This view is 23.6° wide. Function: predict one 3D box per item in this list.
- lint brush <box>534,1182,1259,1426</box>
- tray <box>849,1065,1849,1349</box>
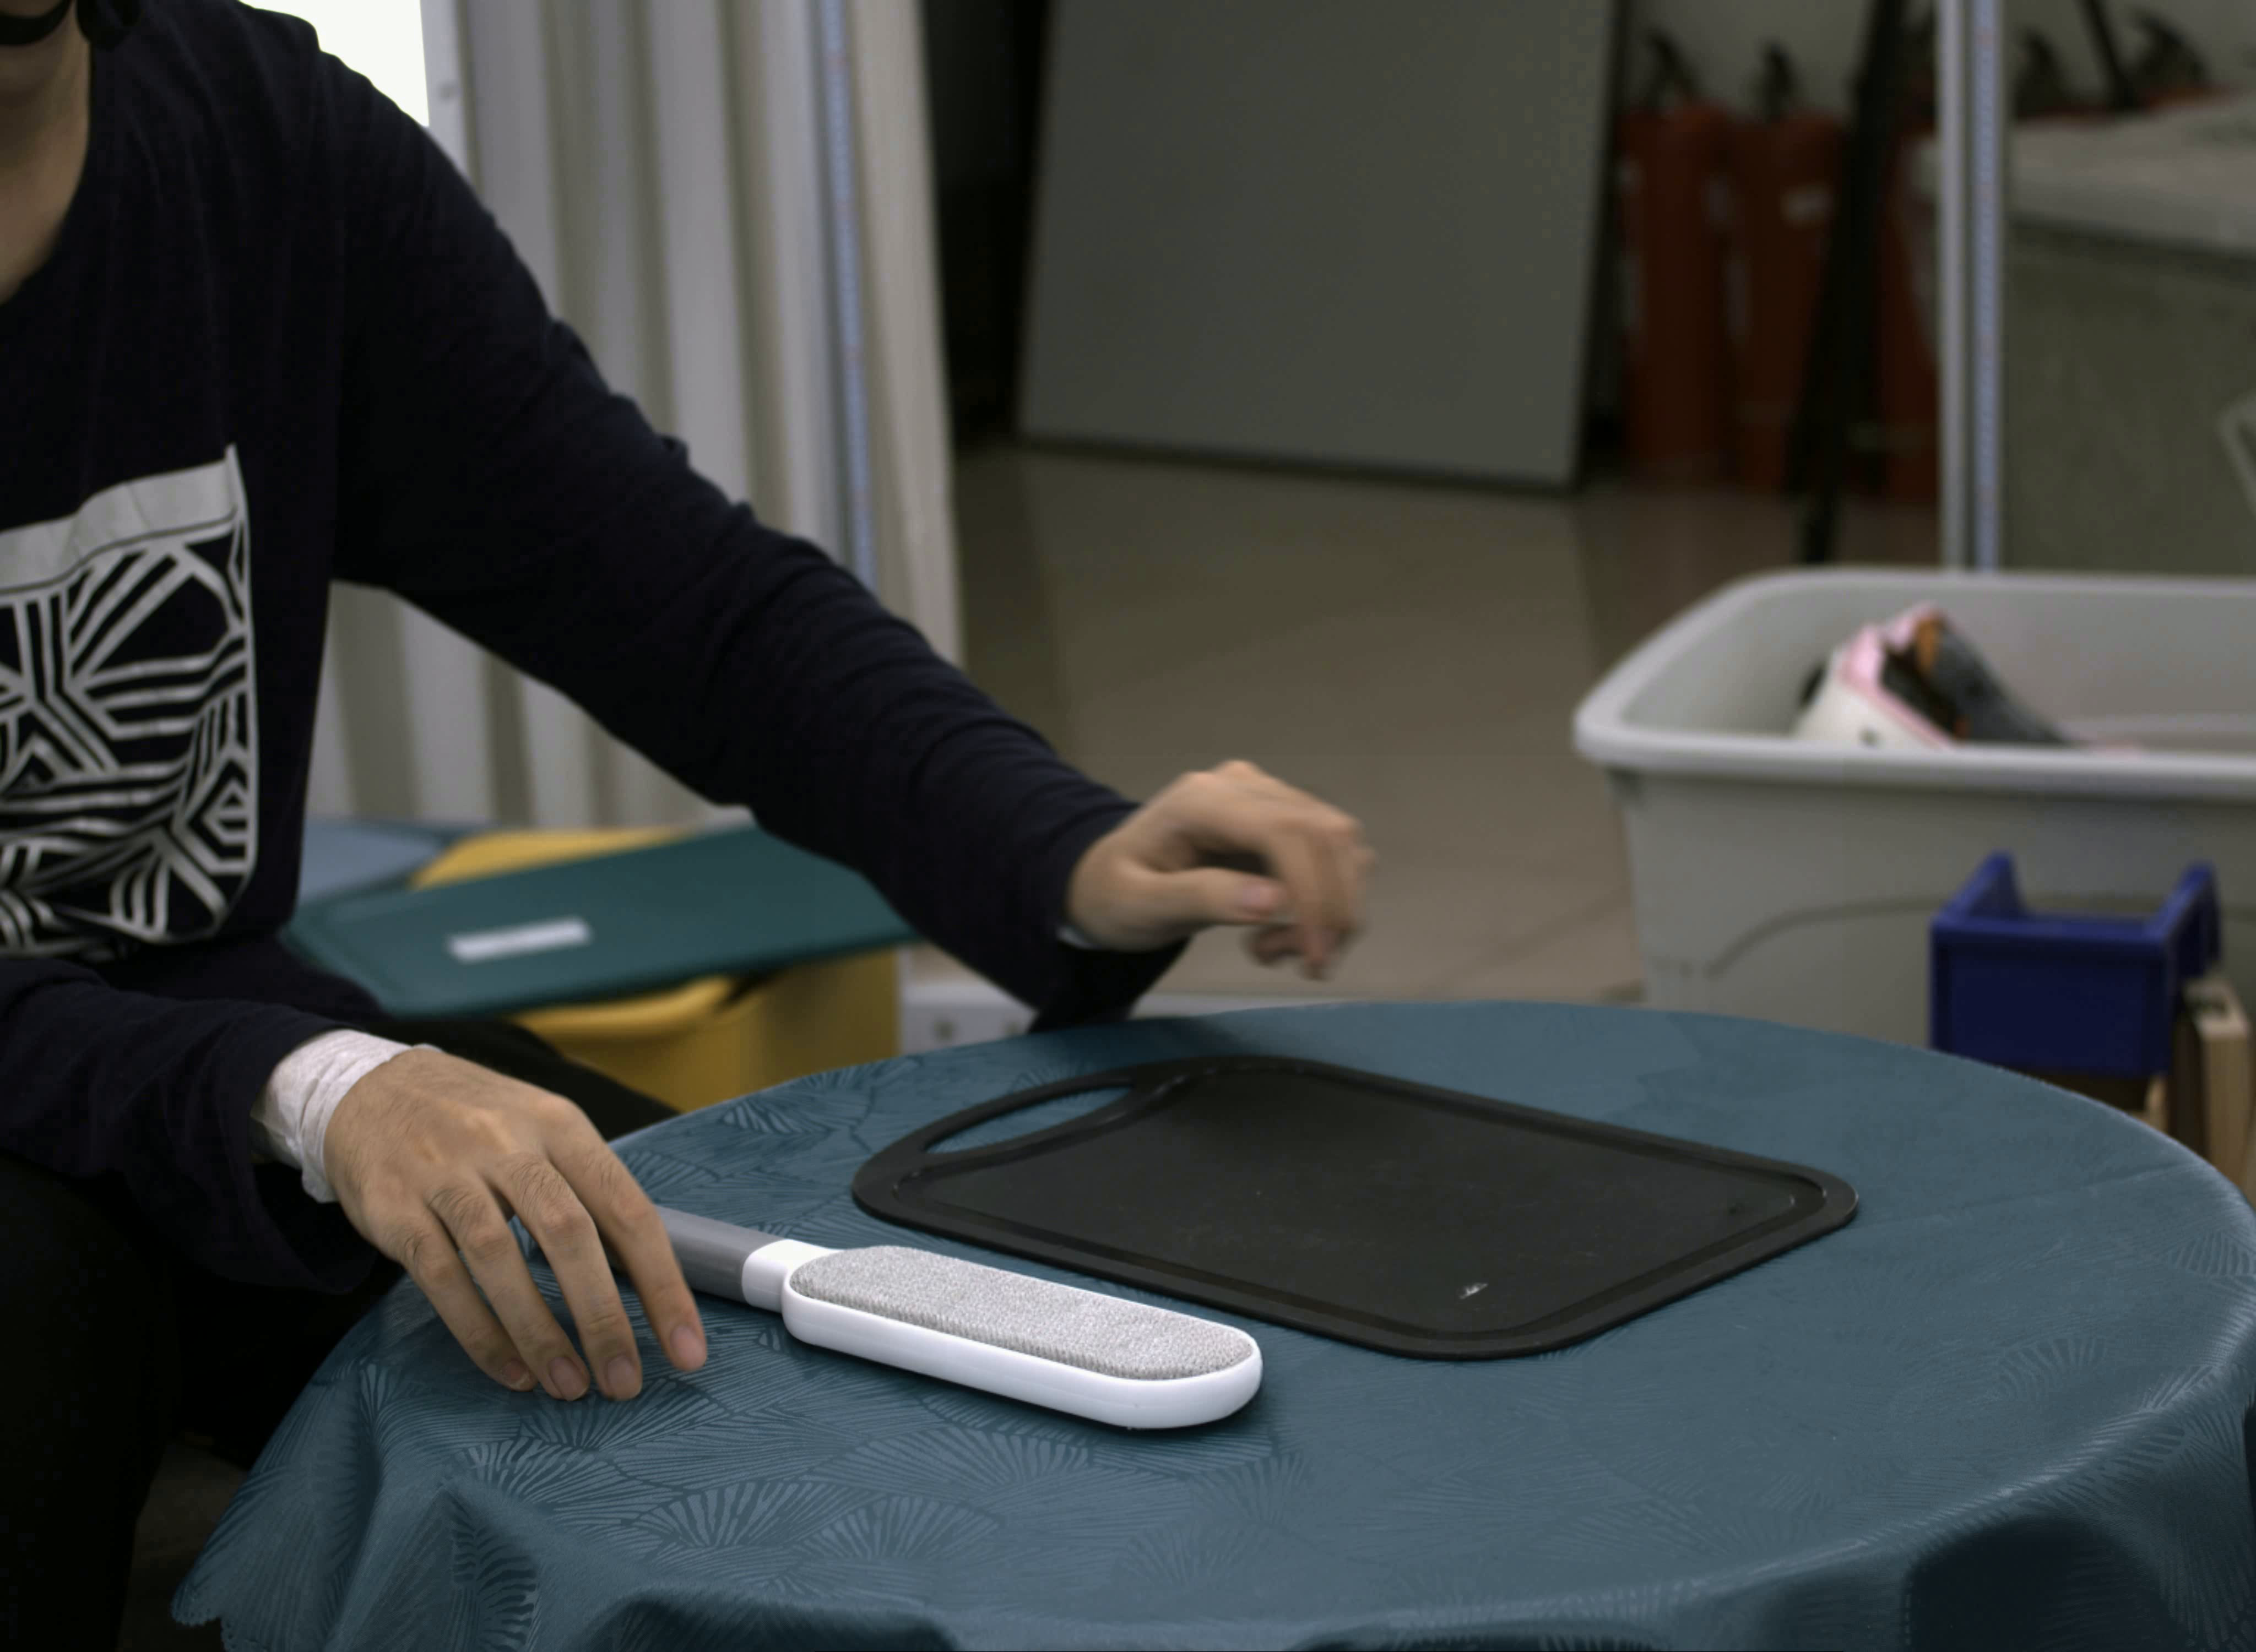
[{"bbox_3d":[-0.078,0.142,1.654,0.312,0.021,0.059,9,24,44],"label":"lint brush"},{"bbox_3d":[0.062,0.118,1.756,0.207,0.010,0.328,-16,18,-41],"label":"tray"}]
